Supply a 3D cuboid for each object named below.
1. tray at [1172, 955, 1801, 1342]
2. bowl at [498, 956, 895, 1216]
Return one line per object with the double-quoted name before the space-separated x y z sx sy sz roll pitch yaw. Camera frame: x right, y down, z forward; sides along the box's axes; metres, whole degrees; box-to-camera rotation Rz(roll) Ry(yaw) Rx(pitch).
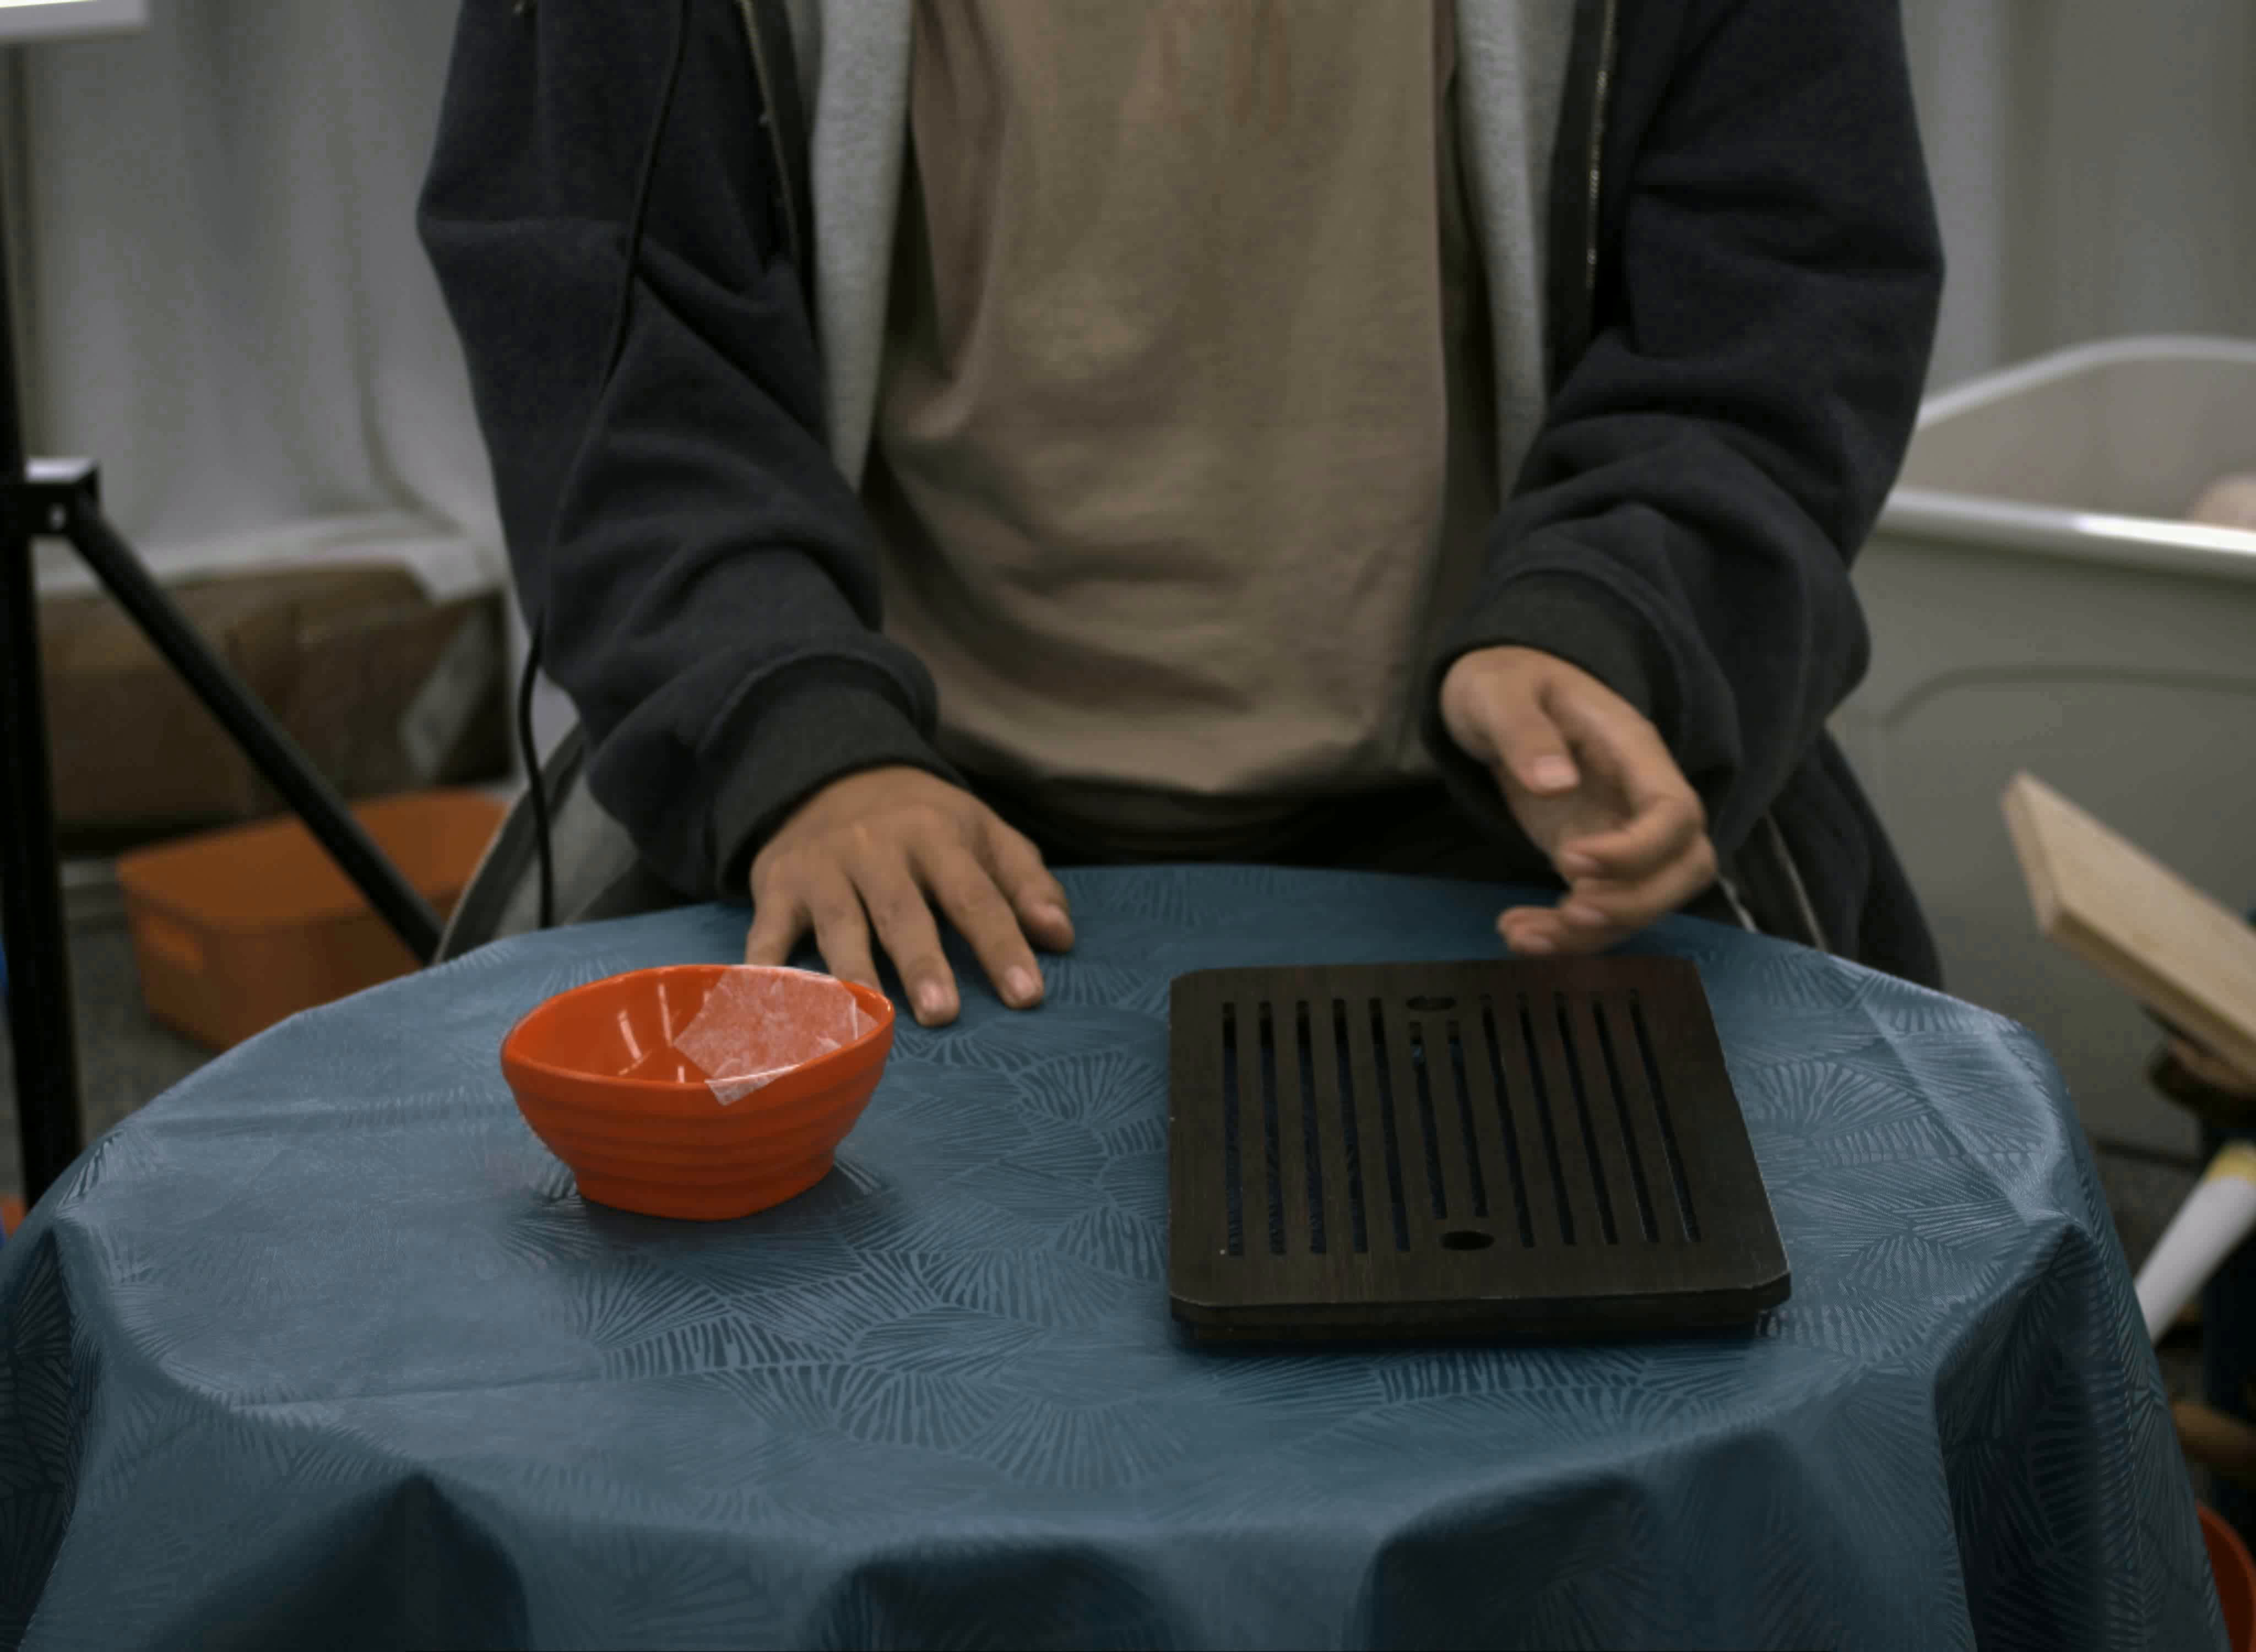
"tray" 0.098 0.093 1.565 0.169 0.018 0.307 -2 15 2
"bowl" -0.126 0.080 1.583 0.118 0.051 0.119 -4 16 0
